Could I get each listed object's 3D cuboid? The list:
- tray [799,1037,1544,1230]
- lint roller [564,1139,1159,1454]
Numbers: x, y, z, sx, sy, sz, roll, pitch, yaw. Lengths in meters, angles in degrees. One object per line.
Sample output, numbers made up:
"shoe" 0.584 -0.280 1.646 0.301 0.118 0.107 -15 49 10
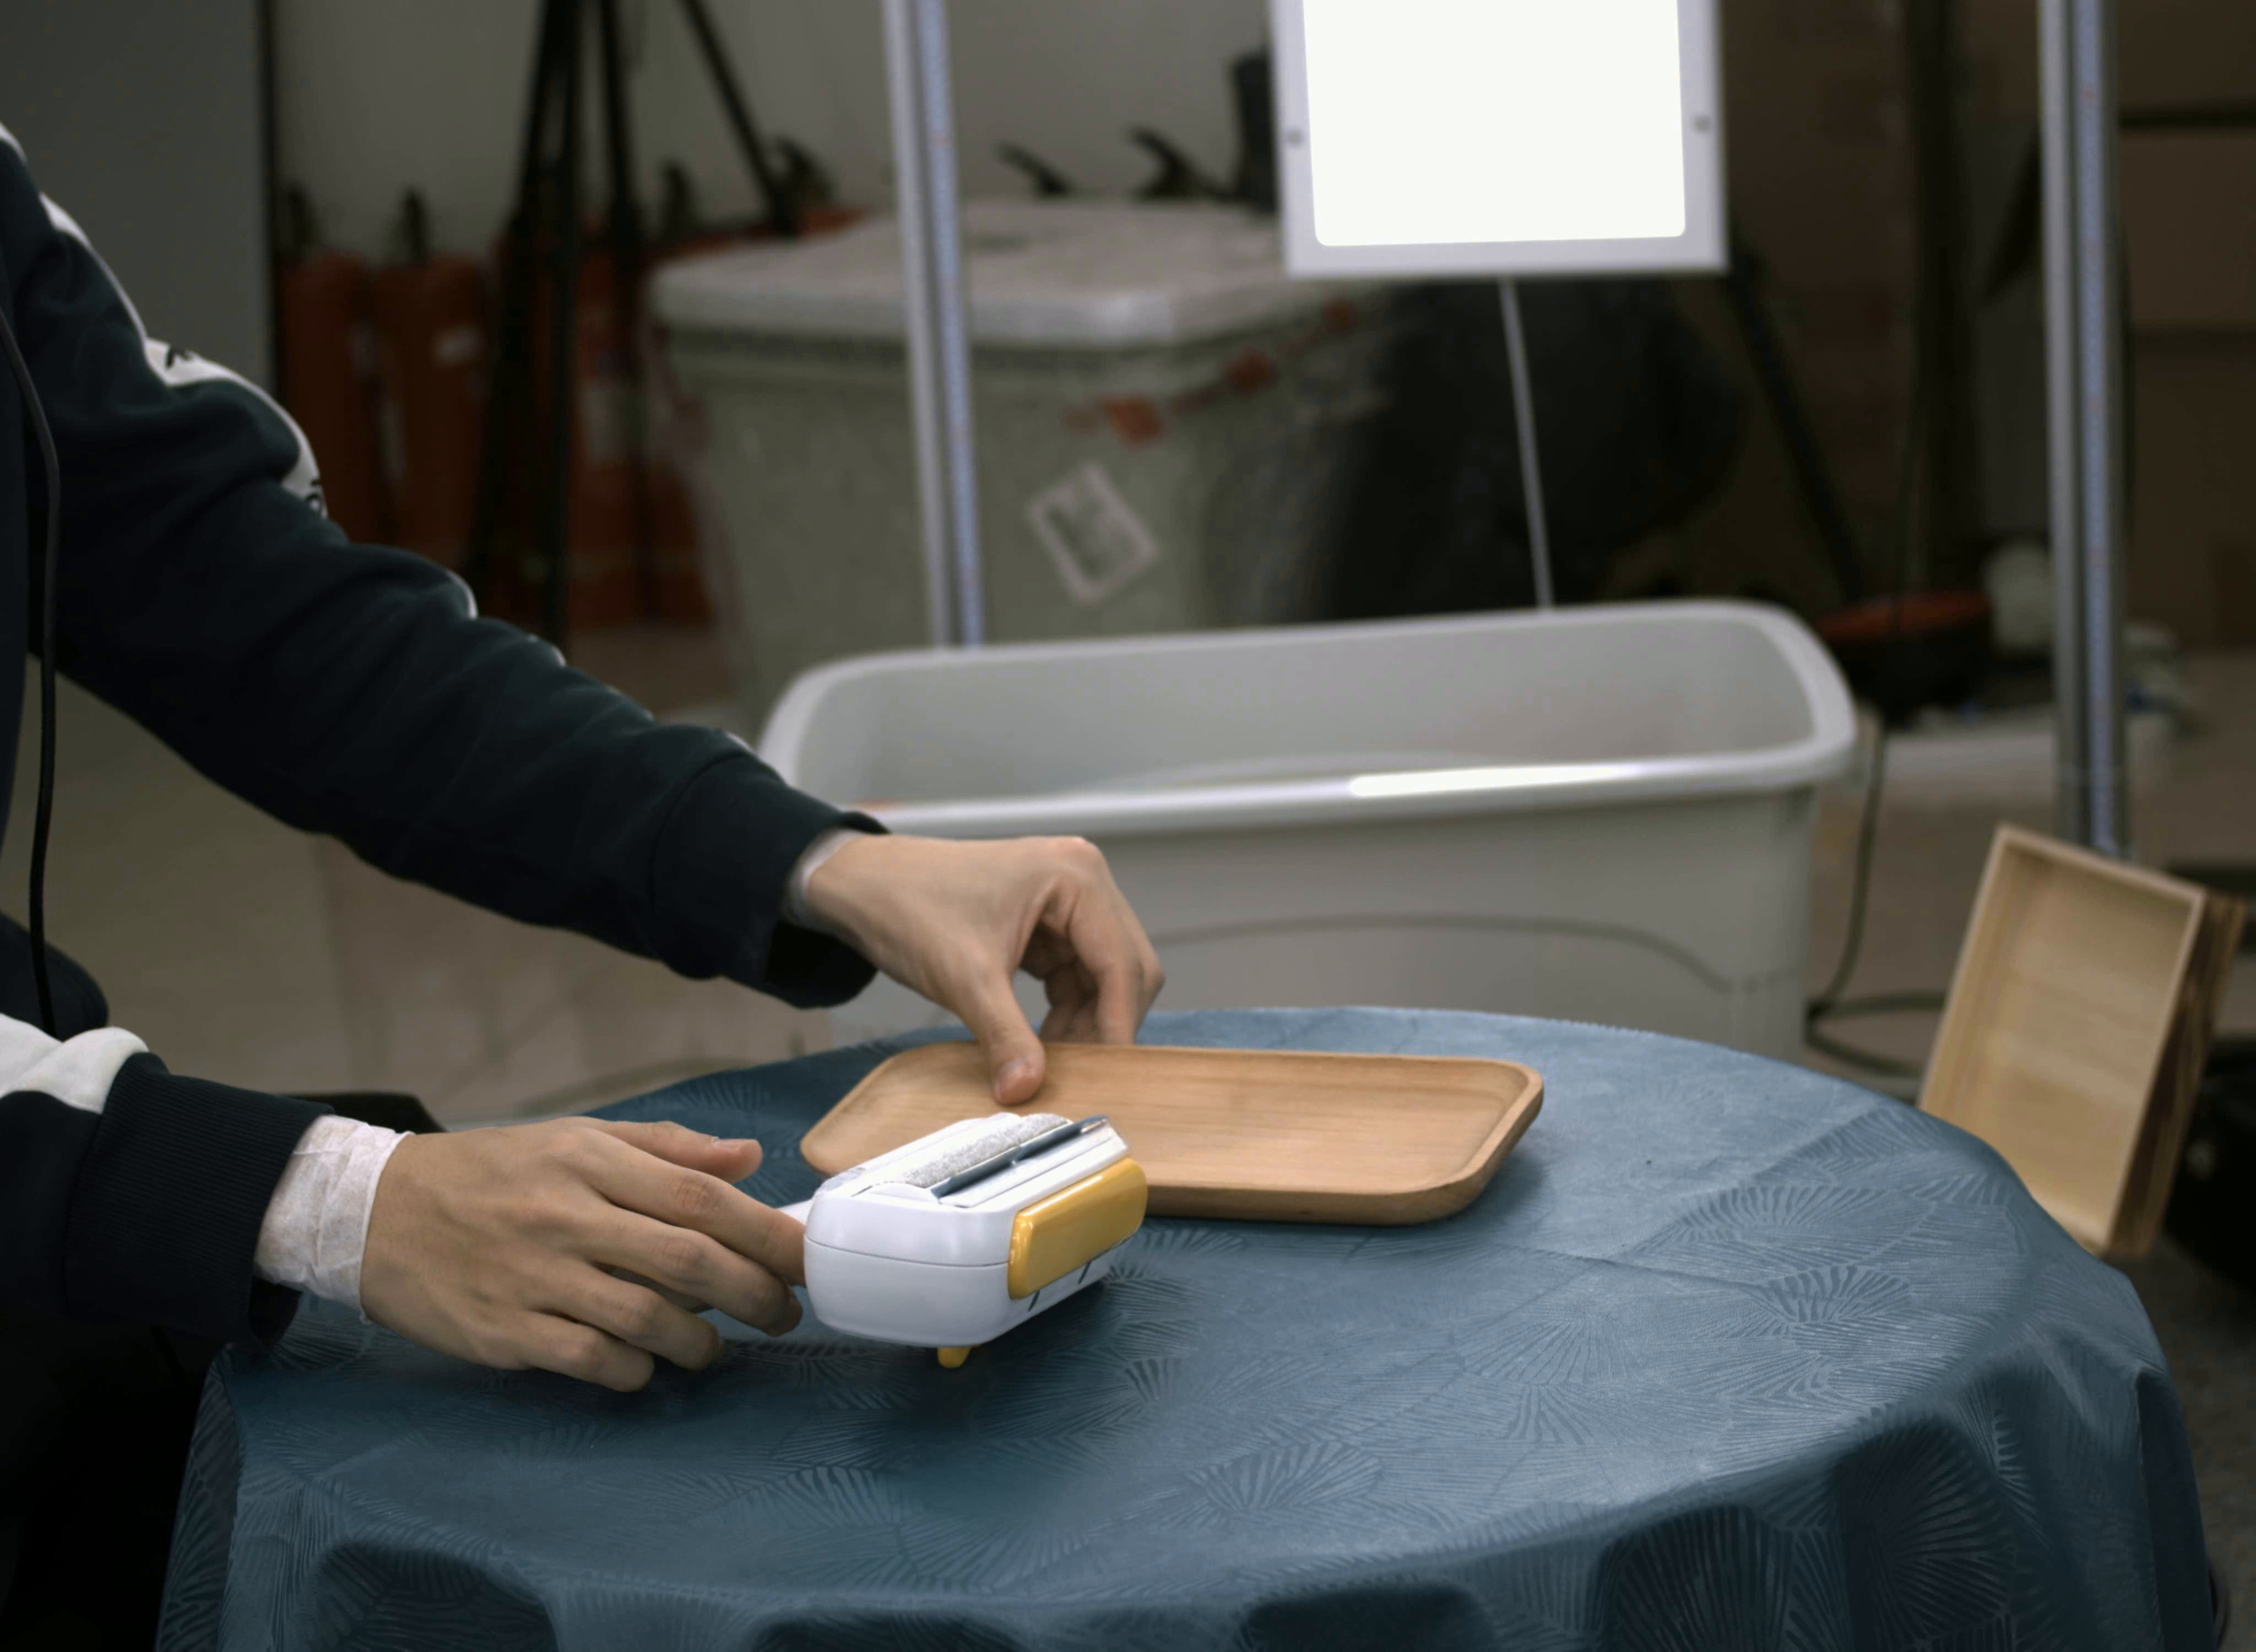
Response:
"tray" 0.015 0.107 1.920 0.254 0.023 0.128 0 17 24
"lint roller" -0.099 0.154 1.757 0.195 0.074 0.189 -15 1 23
